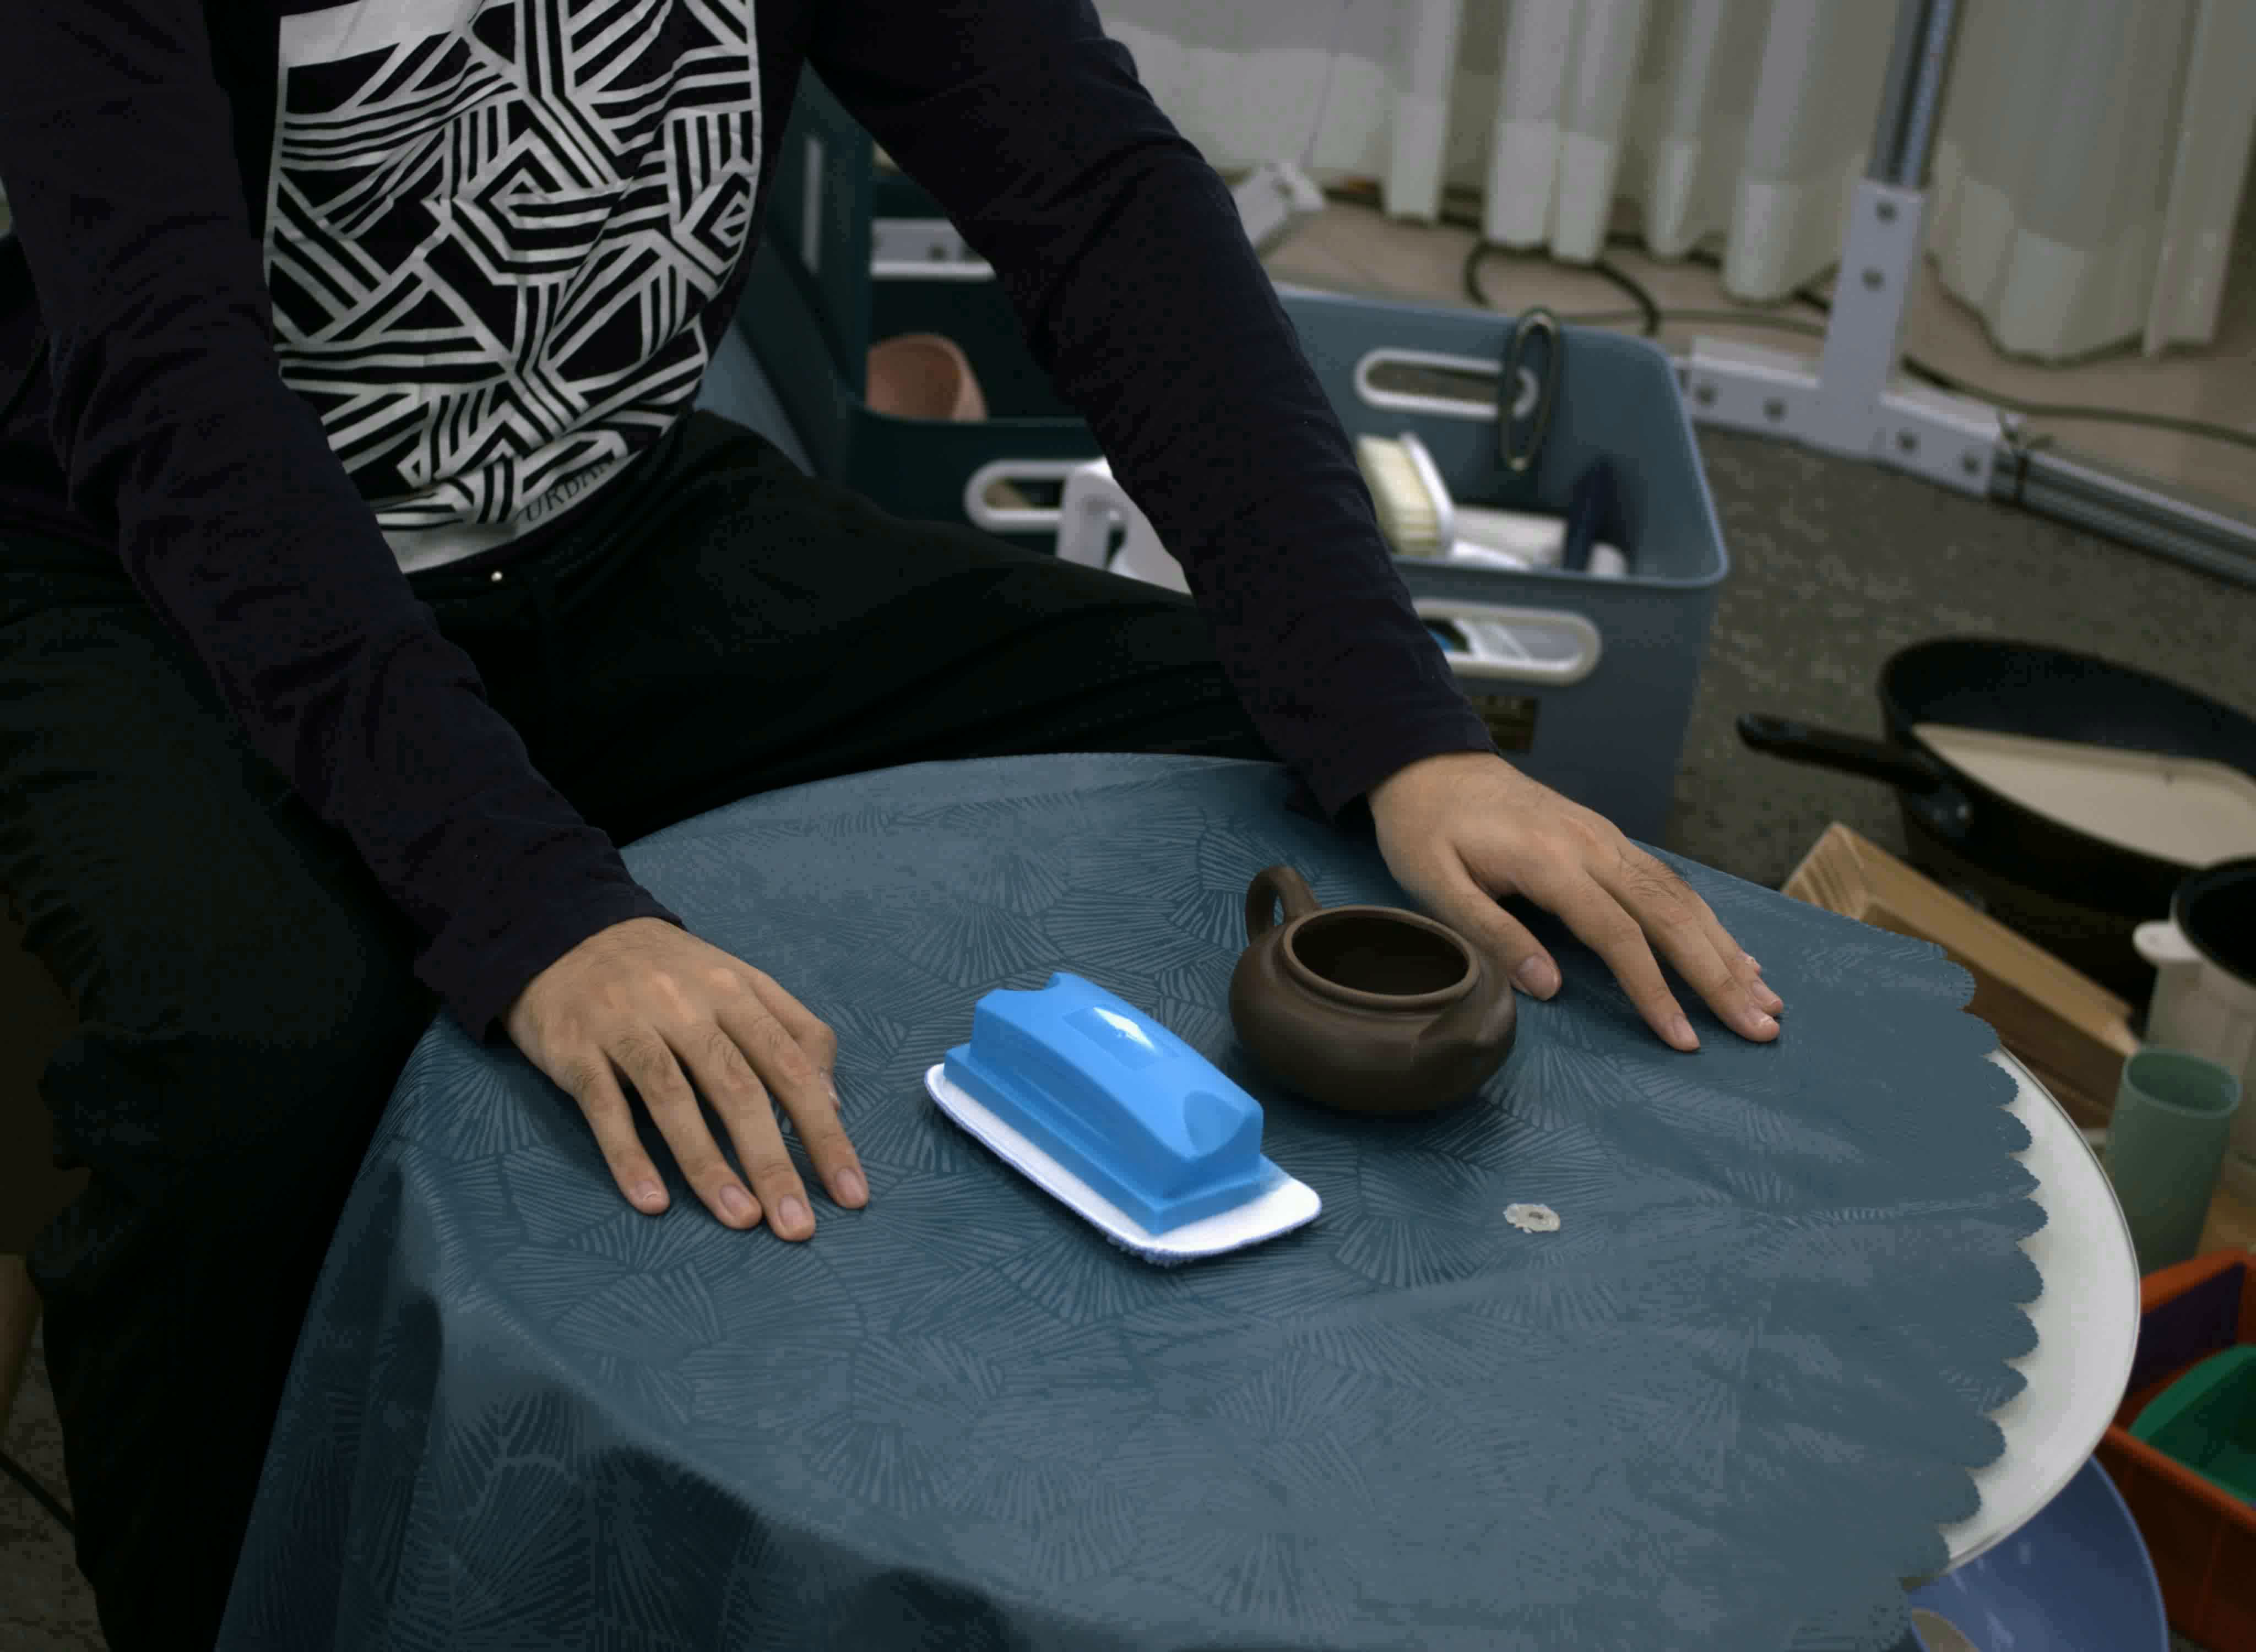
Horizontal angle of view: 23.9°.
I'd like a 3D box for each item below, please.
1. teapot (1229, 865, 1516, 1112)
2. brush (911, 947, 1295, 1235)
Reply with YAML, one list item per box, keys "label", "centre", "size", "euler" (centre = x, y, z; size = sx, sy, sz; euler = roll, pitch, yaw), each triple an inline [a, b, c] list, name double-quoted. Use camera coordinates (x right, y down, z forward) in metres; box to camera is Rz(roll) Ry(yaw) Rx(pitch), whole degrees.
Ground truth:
- label: "teapot"
  centre: [0.084, 0.061, 1.890]
  size: [0.102, 0.053, 0.155]
  euler: [-11, 32, -35]
- label: "brush"
  centre: [-0.006, 0.086, 1.812]
  size: [0.083, 0.056, 0.145]
  euler: [-10, 33, -35]
